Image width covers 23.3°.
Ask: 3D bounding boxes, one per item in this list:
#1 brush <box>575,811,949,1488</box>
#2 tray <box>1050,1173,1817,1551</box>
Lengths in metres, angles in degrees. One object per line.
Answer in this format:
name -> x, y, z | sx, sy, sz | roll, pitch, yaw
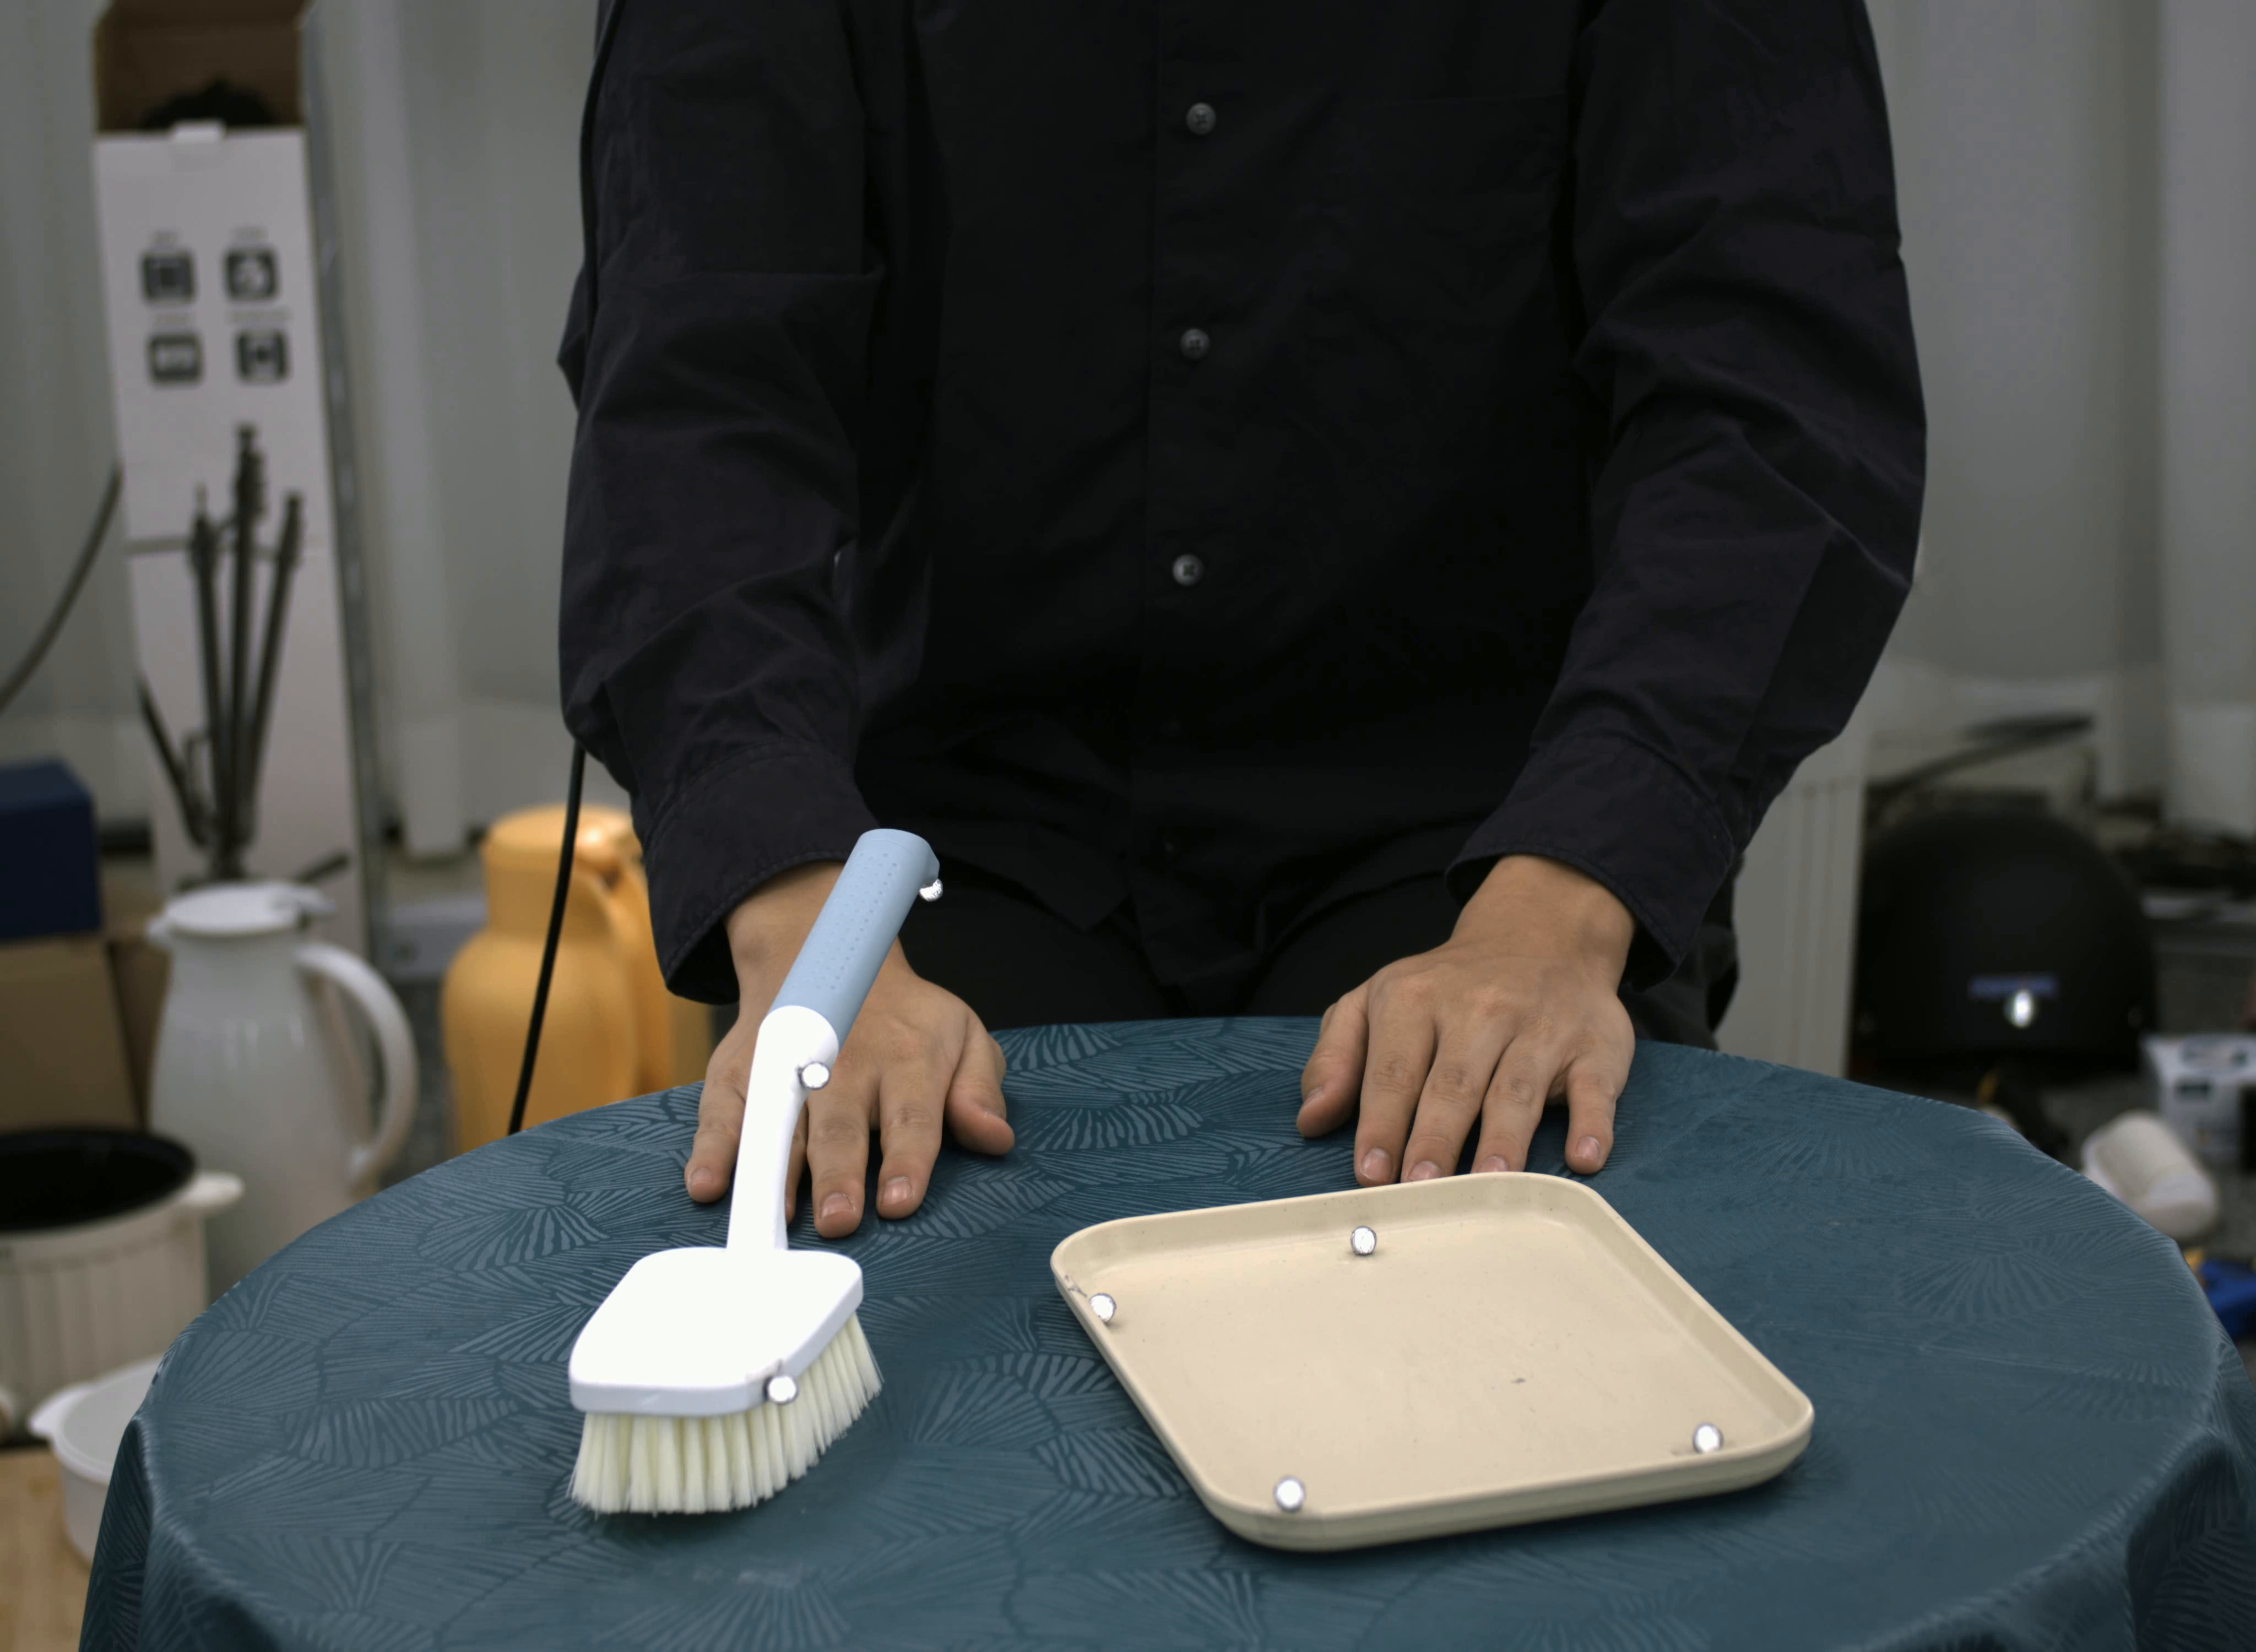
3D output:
brush -> -0.092, 0.107, 1.604 | 0.083, 0.084, 0.328 | 33, 29, -5
tray -> 0.081, 0.149, 1.541 | 0.170, 0.017, 0.241 | -6, 16, -12
